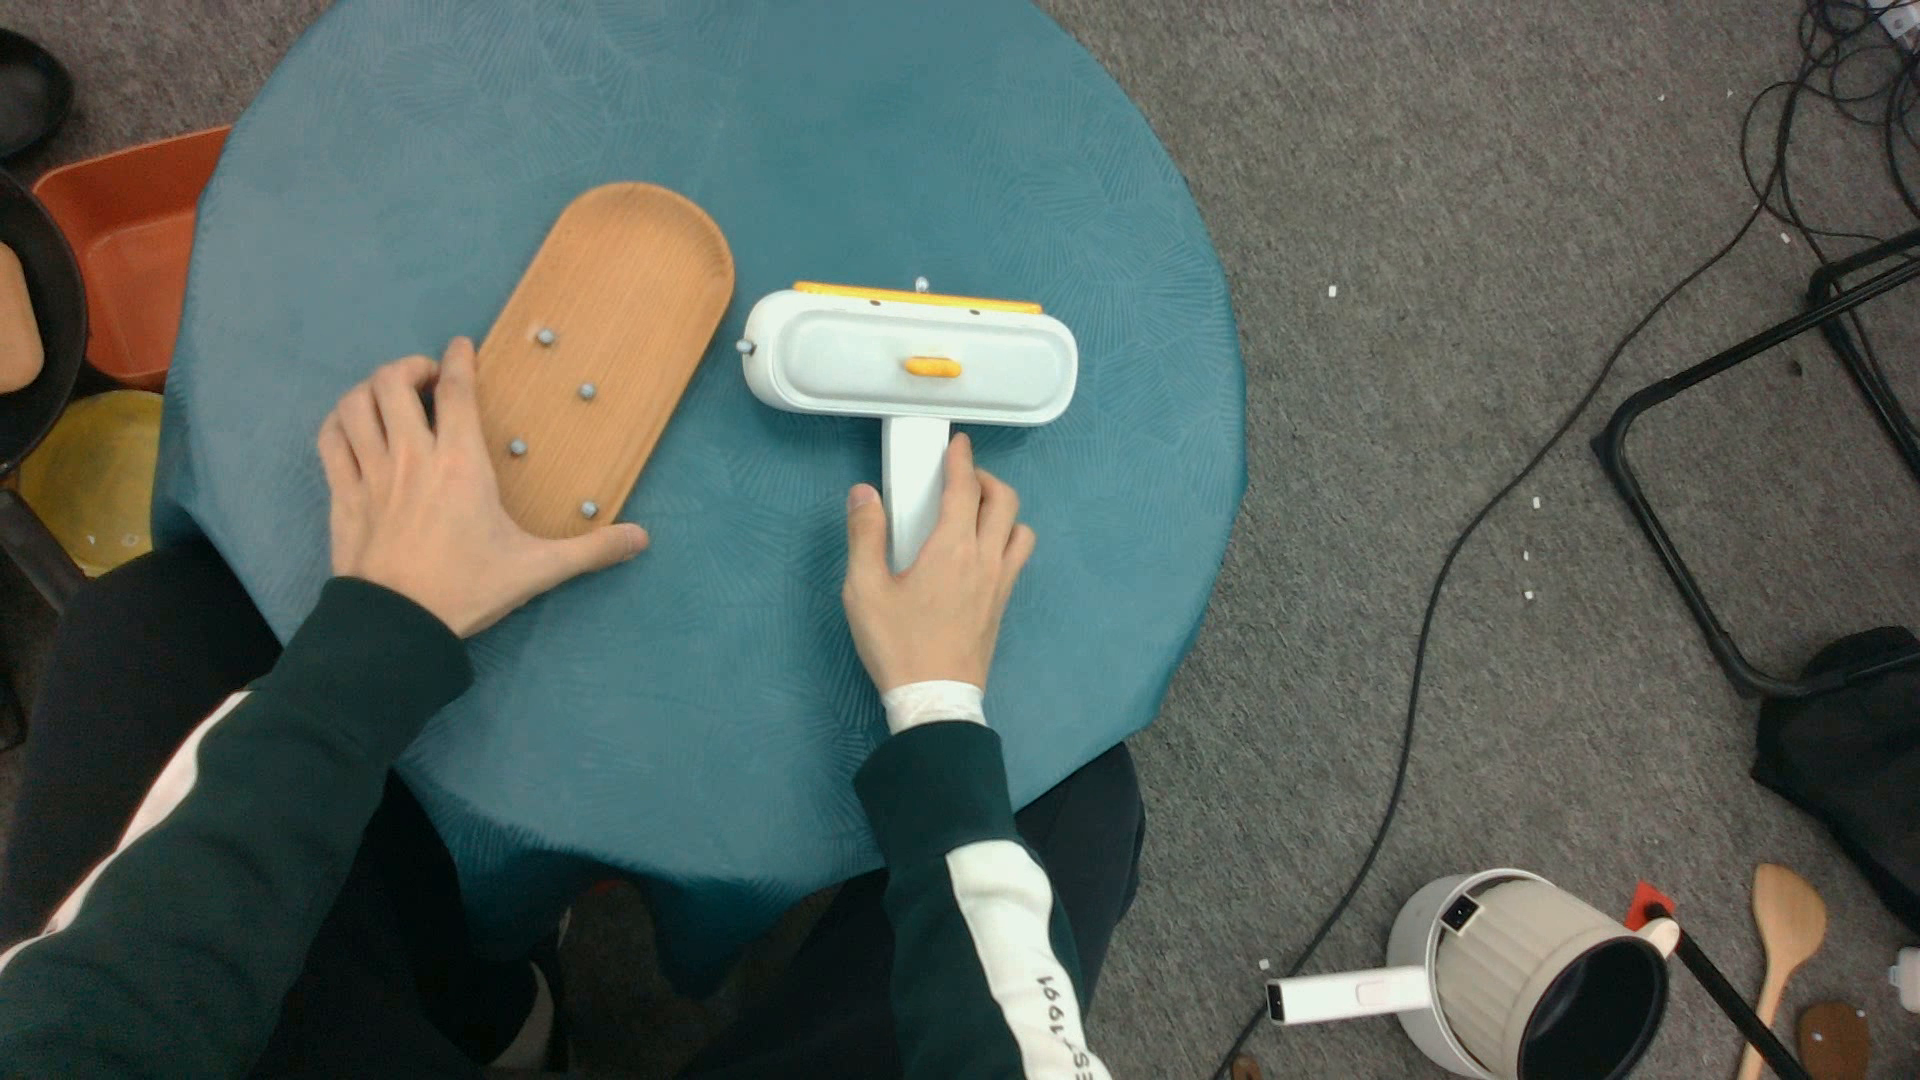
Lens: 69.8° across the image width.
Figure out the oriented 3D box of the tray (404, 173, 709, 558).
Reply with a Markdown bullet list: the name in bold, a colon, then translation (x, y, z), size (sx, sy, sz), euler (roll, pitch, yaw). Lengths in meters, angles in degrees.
- **tray**: translation (-0.212, -0.097, 0.738), size (0.102, 0.020, 0.232), euler (25, 68, -11)

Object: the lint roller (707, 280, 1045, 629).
- **lint roller**: translation (-0.038, -0.048, 0.763), size (0.193, 0.074, 0.192), euler (-4, 94, -25)
